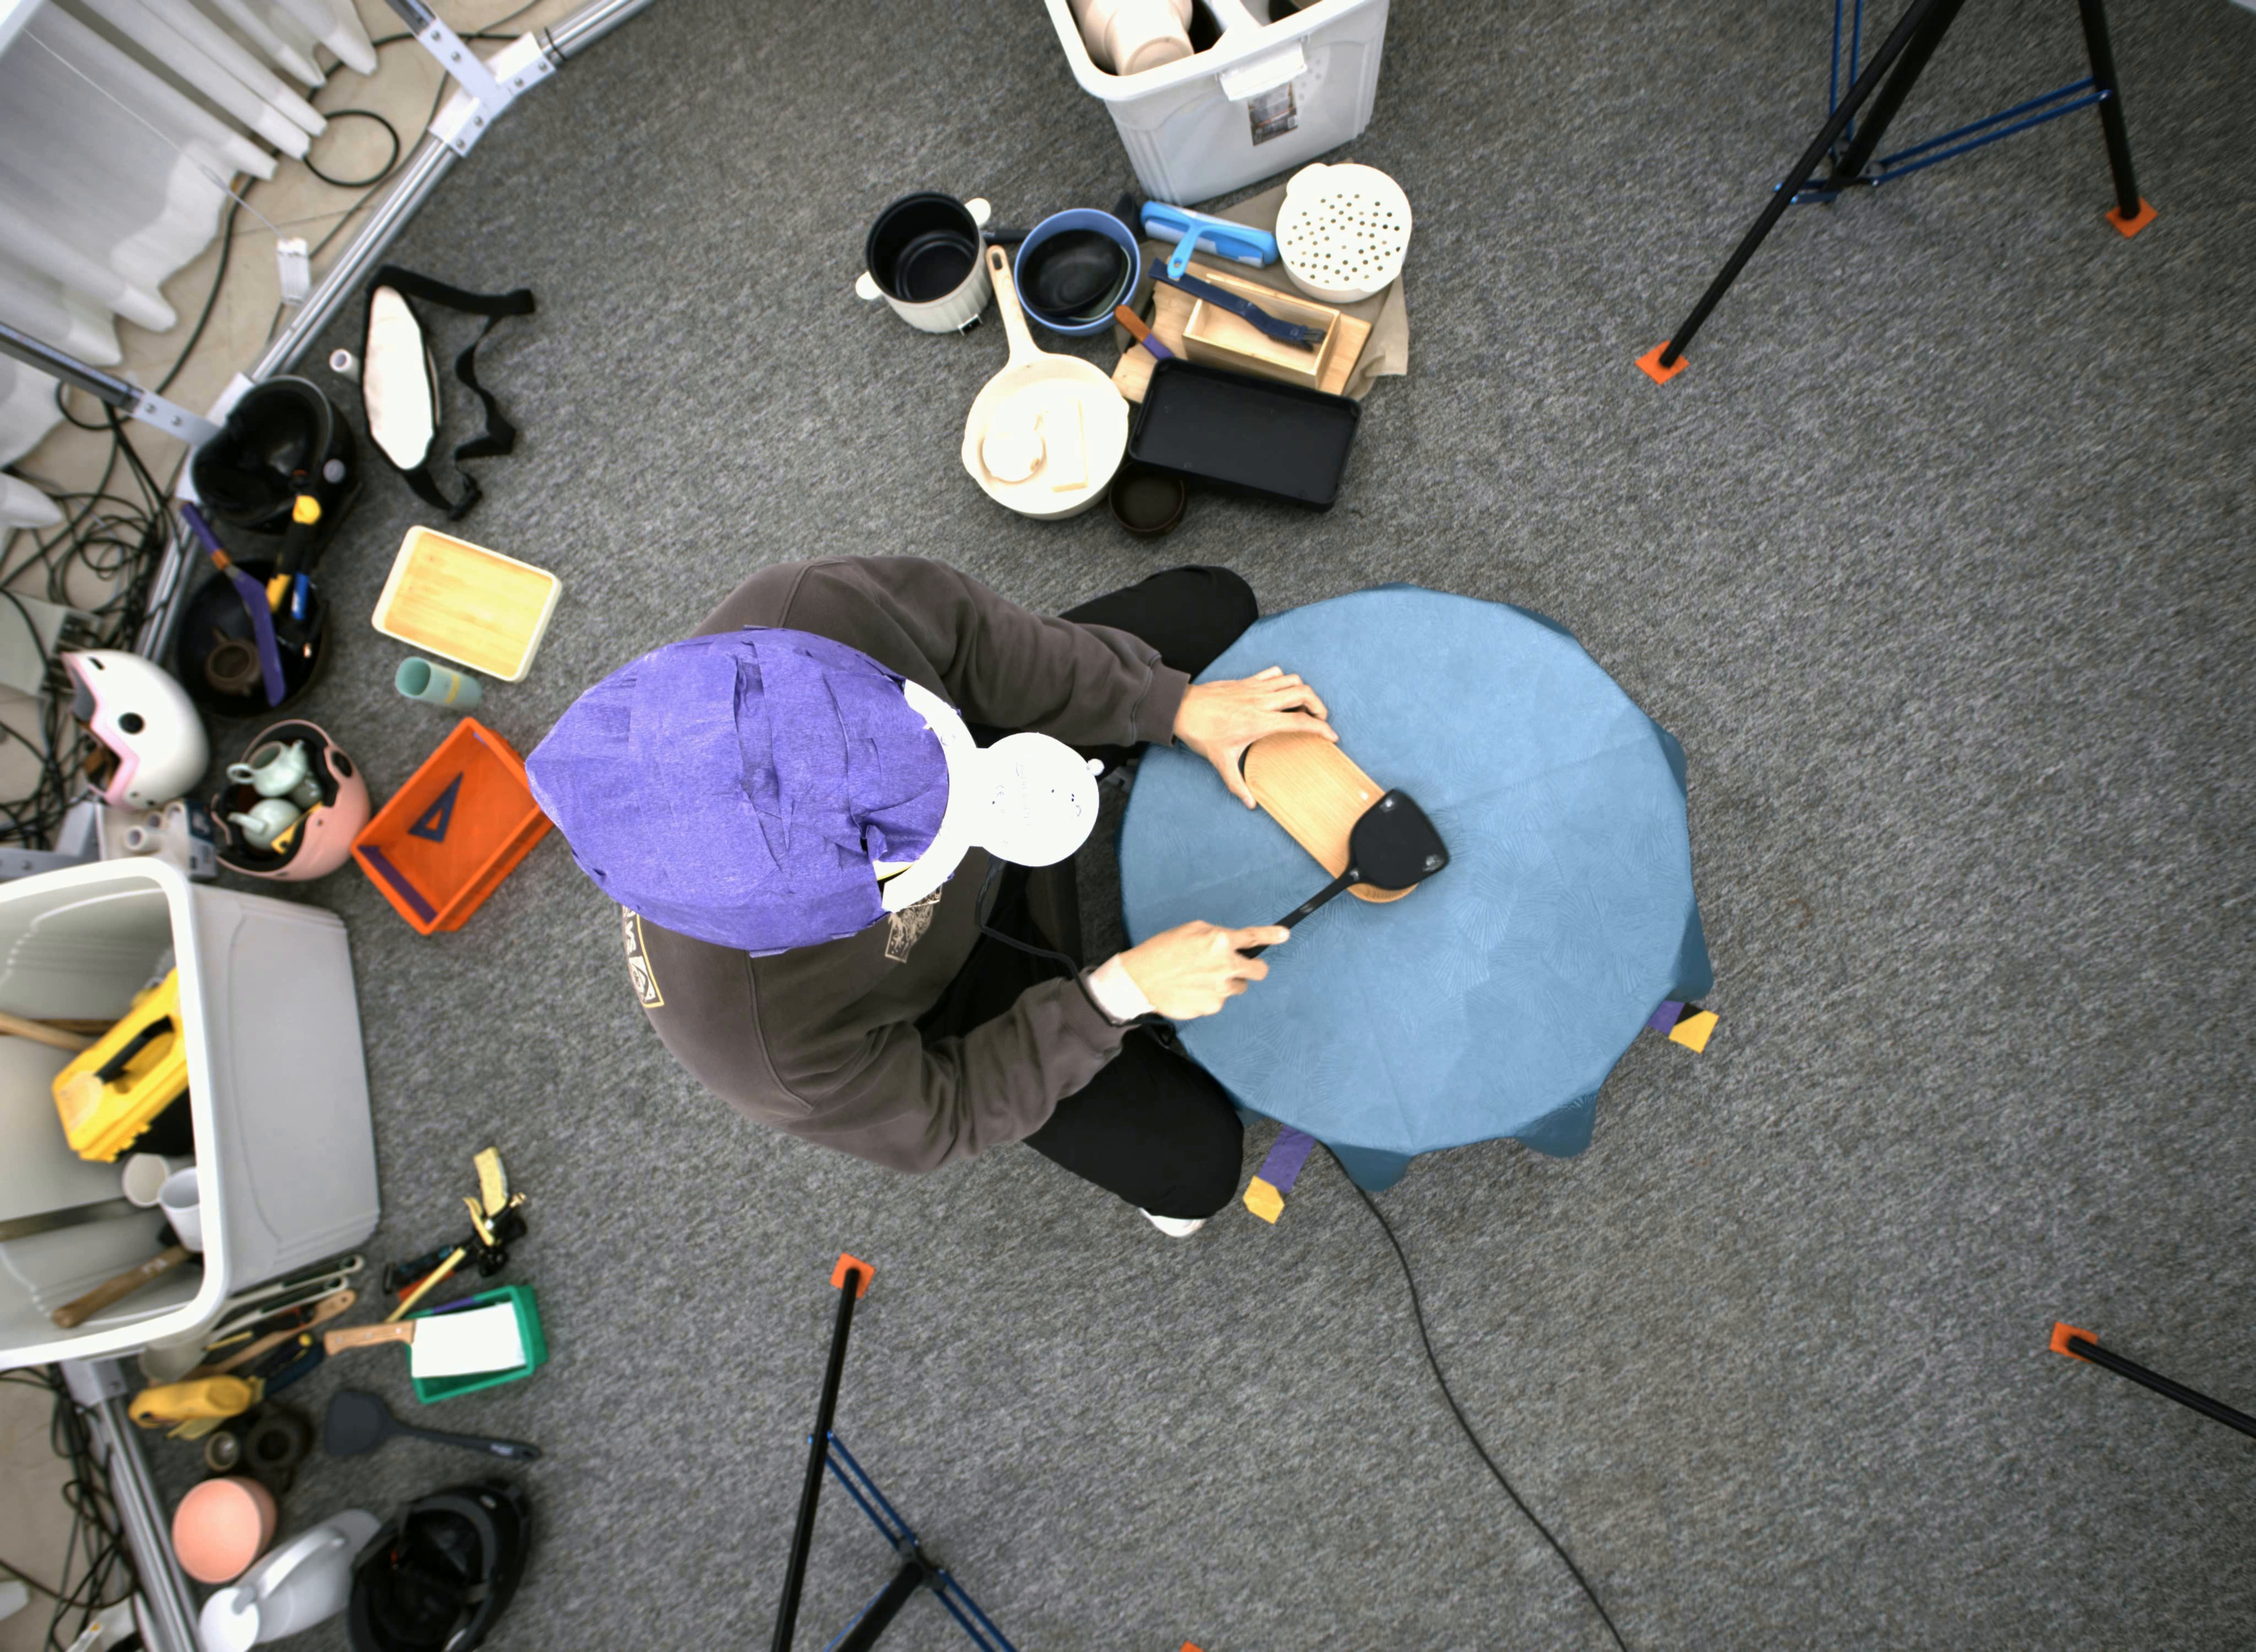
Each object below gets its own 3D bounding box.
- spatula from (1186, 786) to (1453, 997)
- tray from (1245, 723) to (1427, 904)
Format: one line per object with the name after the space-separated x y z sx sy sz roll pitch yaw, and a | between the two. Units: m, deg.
0.184 0.075 1.365 0.321 0.041 0.099 -33 86 -24 | spatula
0.221 -0.015 1.462 0.230 0.020 0.102 45 97 8 | tray
